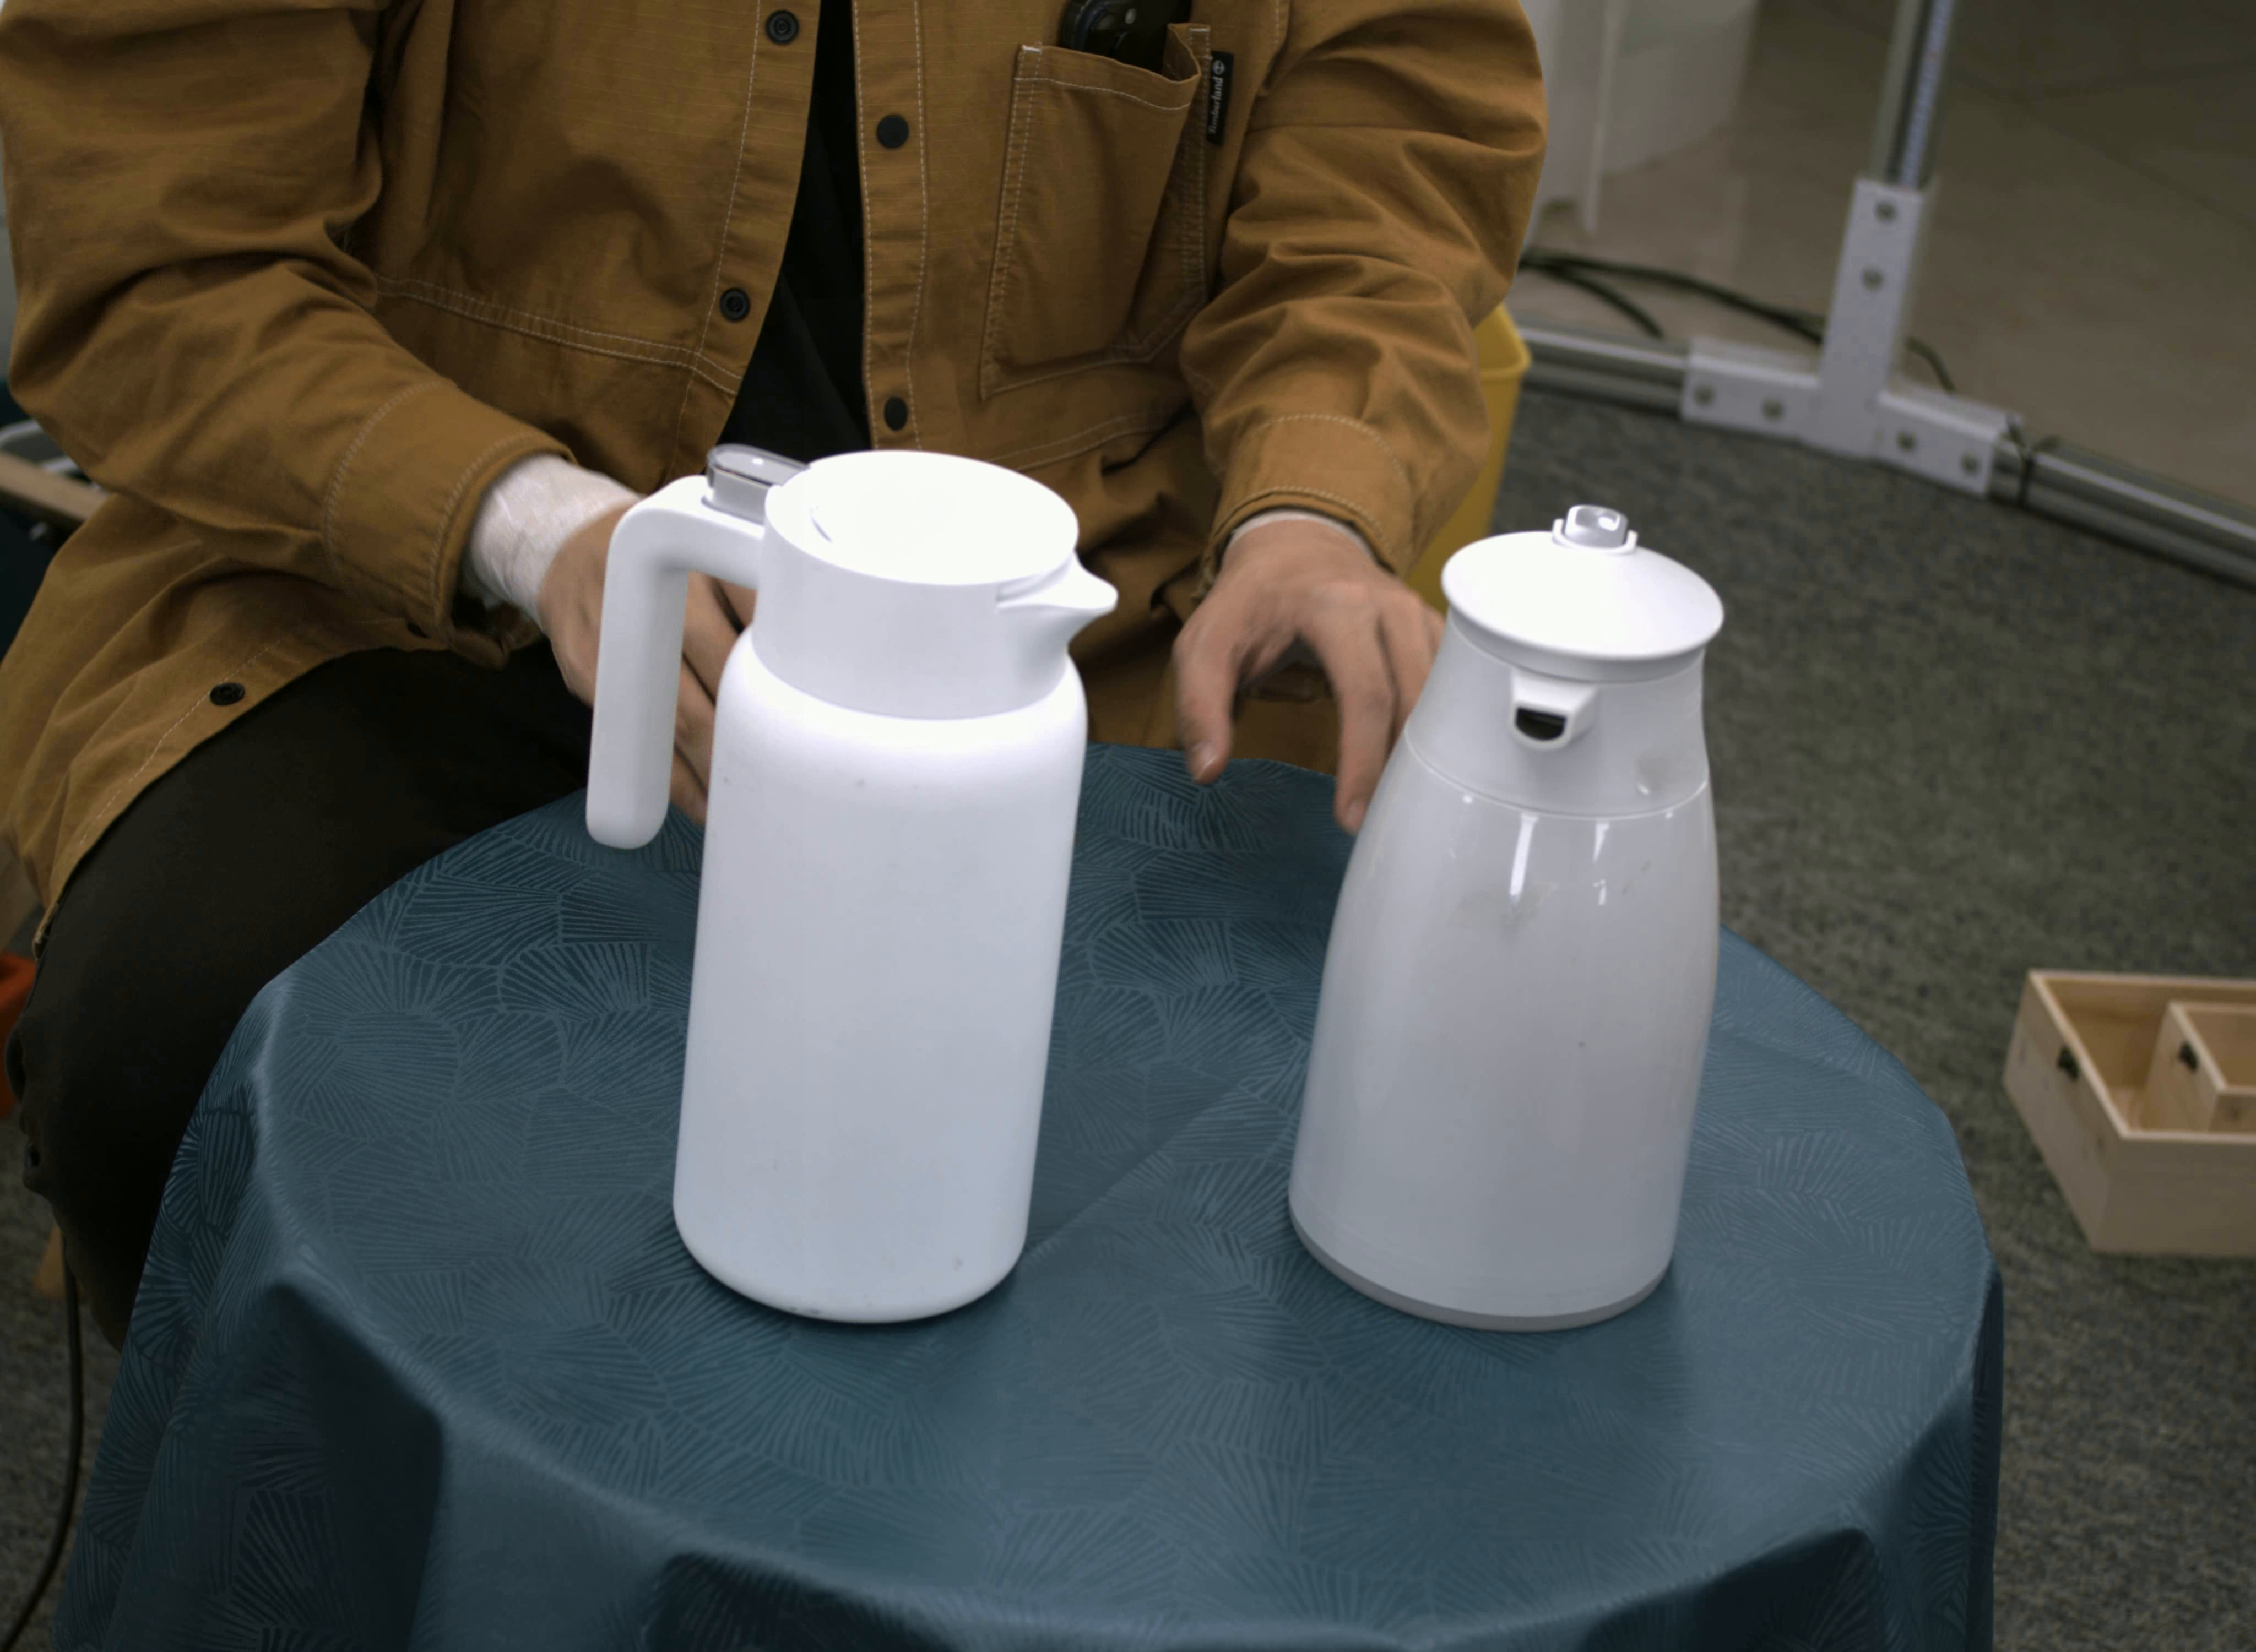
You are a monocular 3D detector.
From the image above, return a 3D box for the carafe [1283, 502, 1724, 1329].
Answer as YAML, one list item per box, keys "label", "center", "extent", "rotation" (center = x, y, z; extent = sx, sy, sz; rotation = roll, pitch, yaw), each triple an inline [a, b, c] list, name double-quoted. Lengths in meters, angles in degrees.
- label: "carafe"
  center: [0.135, 0.018, 1.769]
  extent: [0.132, 0.248, 0.168]
  rotation: [11, 26, 9]

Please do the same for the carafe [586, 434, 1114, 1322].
- label: "carafe"
  center: [-0.095, 0.014, 1.705]
  extent: [0.173, 0.268, 0.124]
  rotation: [17, 30, 21]
